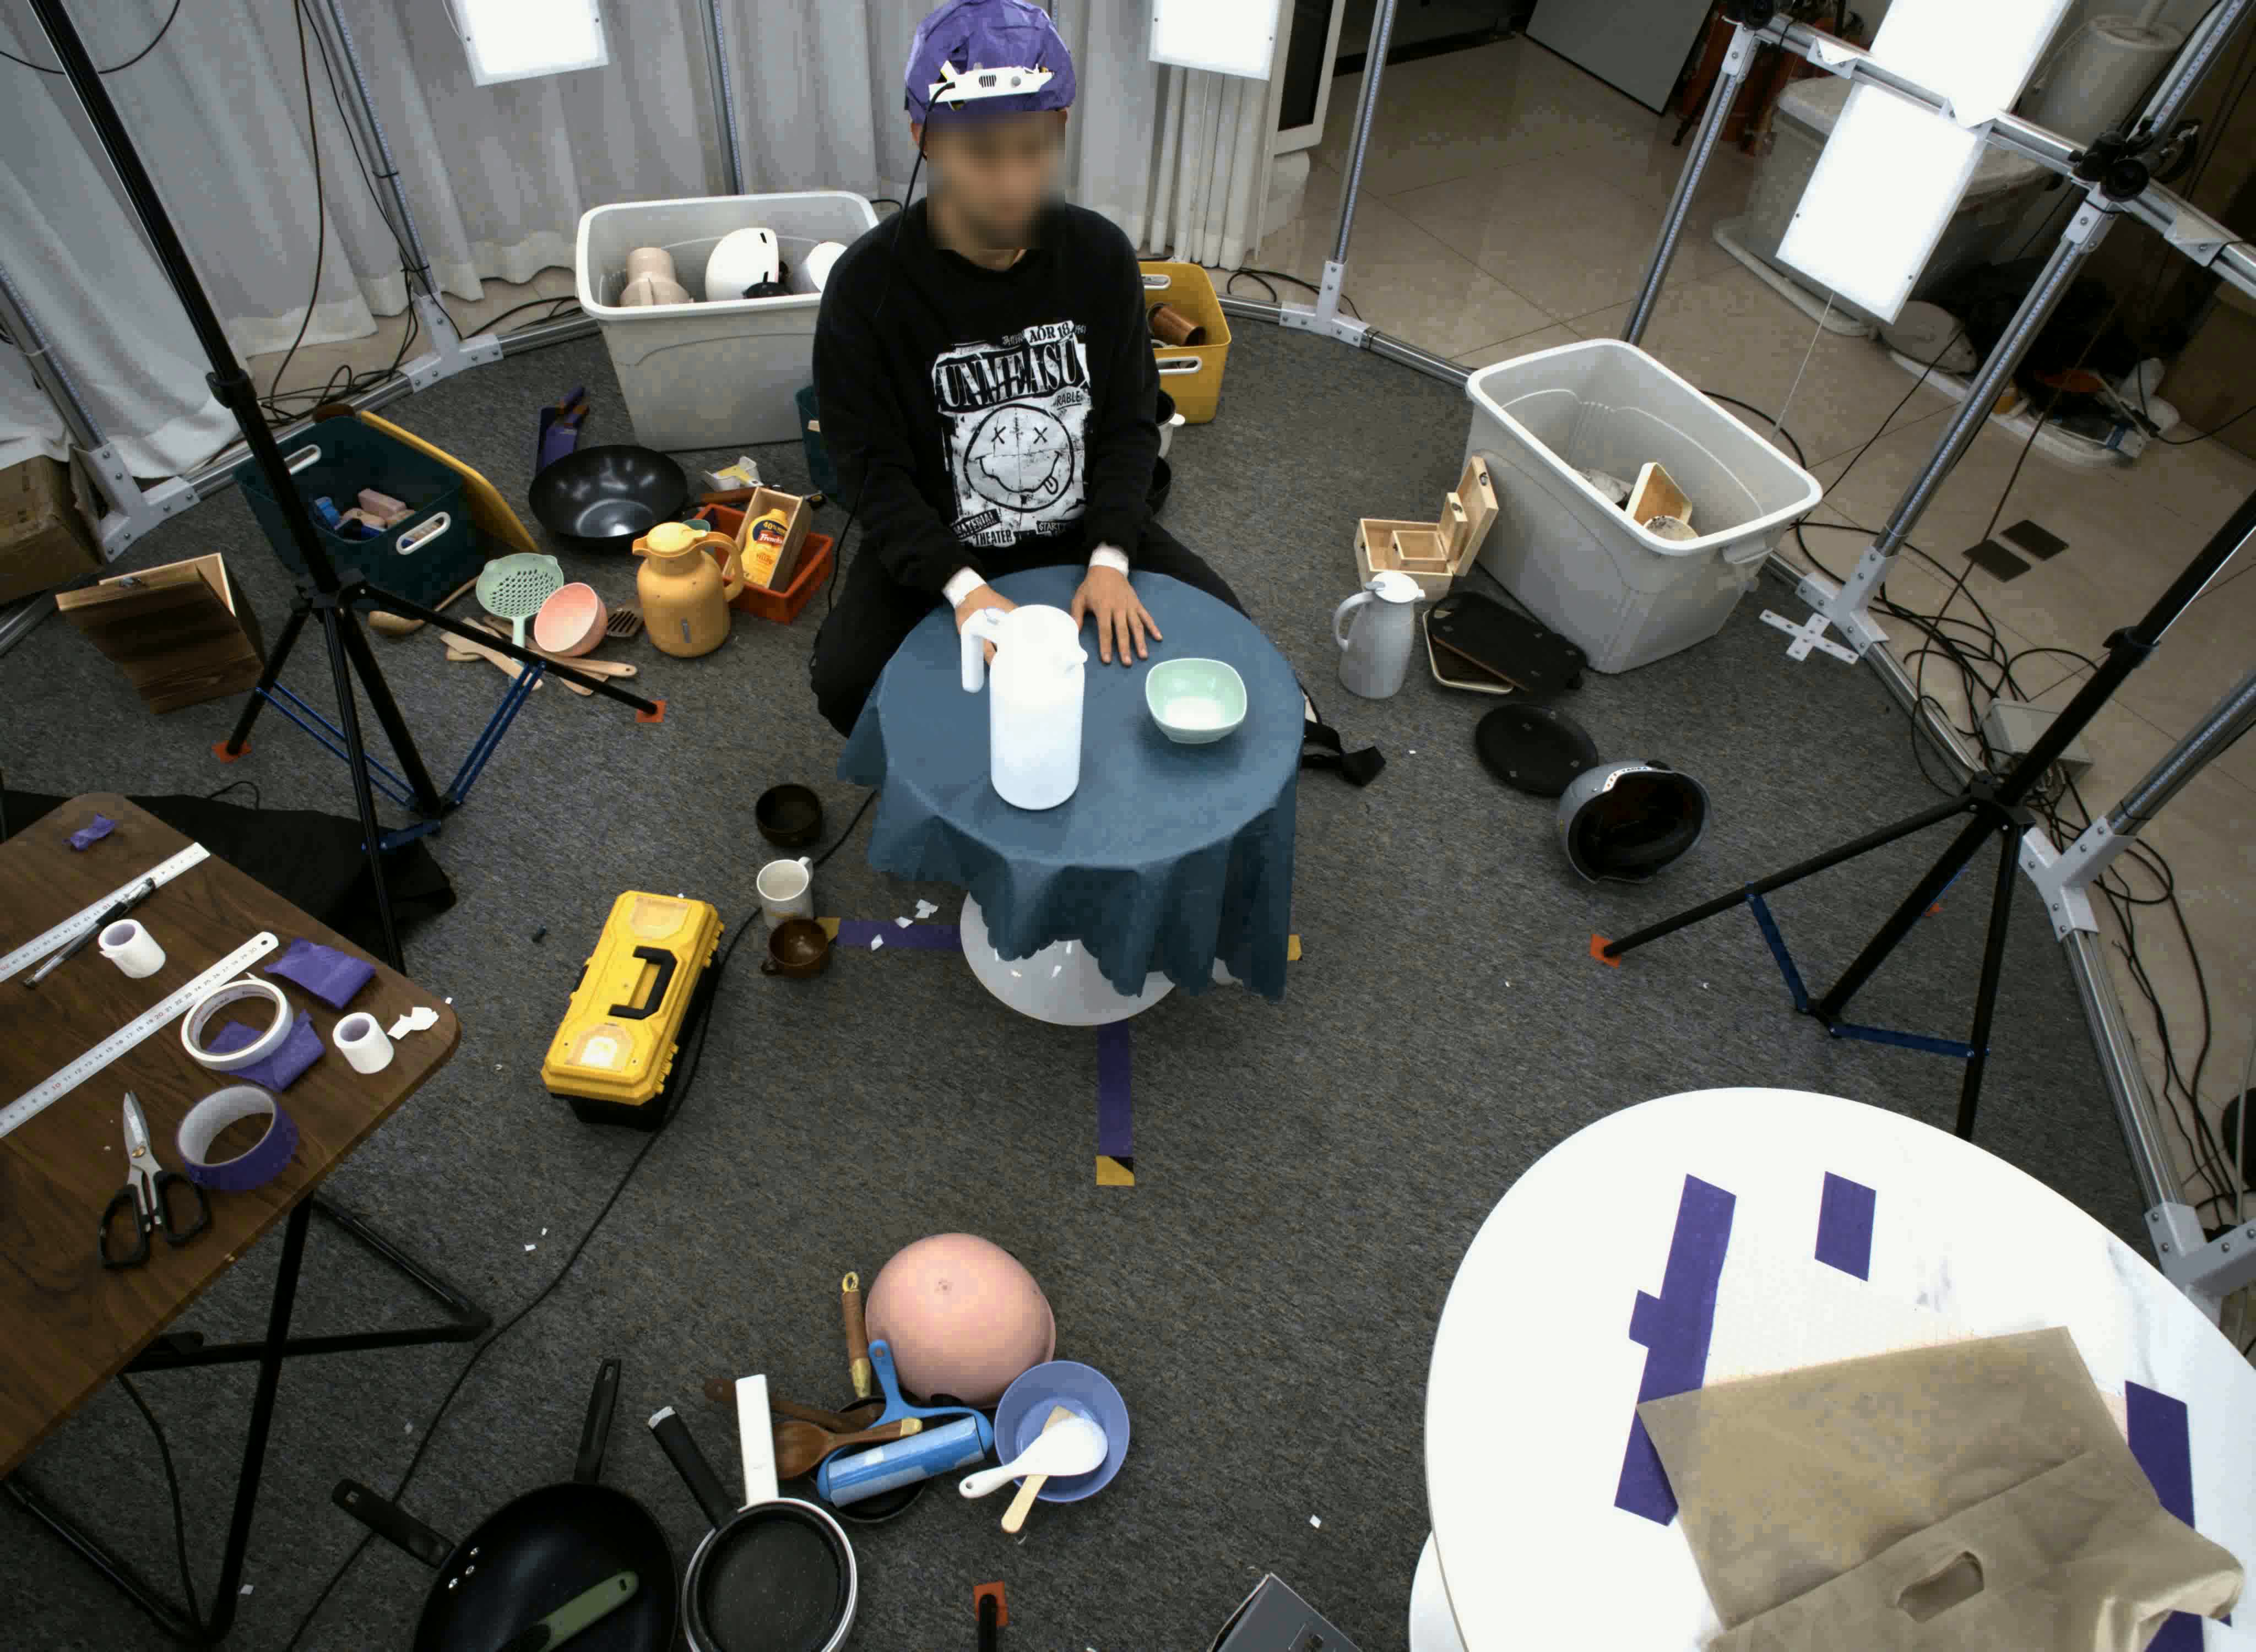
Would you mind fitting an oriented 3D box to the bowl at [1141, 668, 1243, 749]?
[{"bbox_3d":[0.088,-0.156,1.784,0.151,0.057,0.155,0,43,0],"label":"bowl"}]

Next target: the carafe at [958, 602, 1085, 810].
[{"bbox_3d":[-0.133,-0.152,1.621,0.174,0.262,0.126,25,54,17],"label":"carafe"}]
